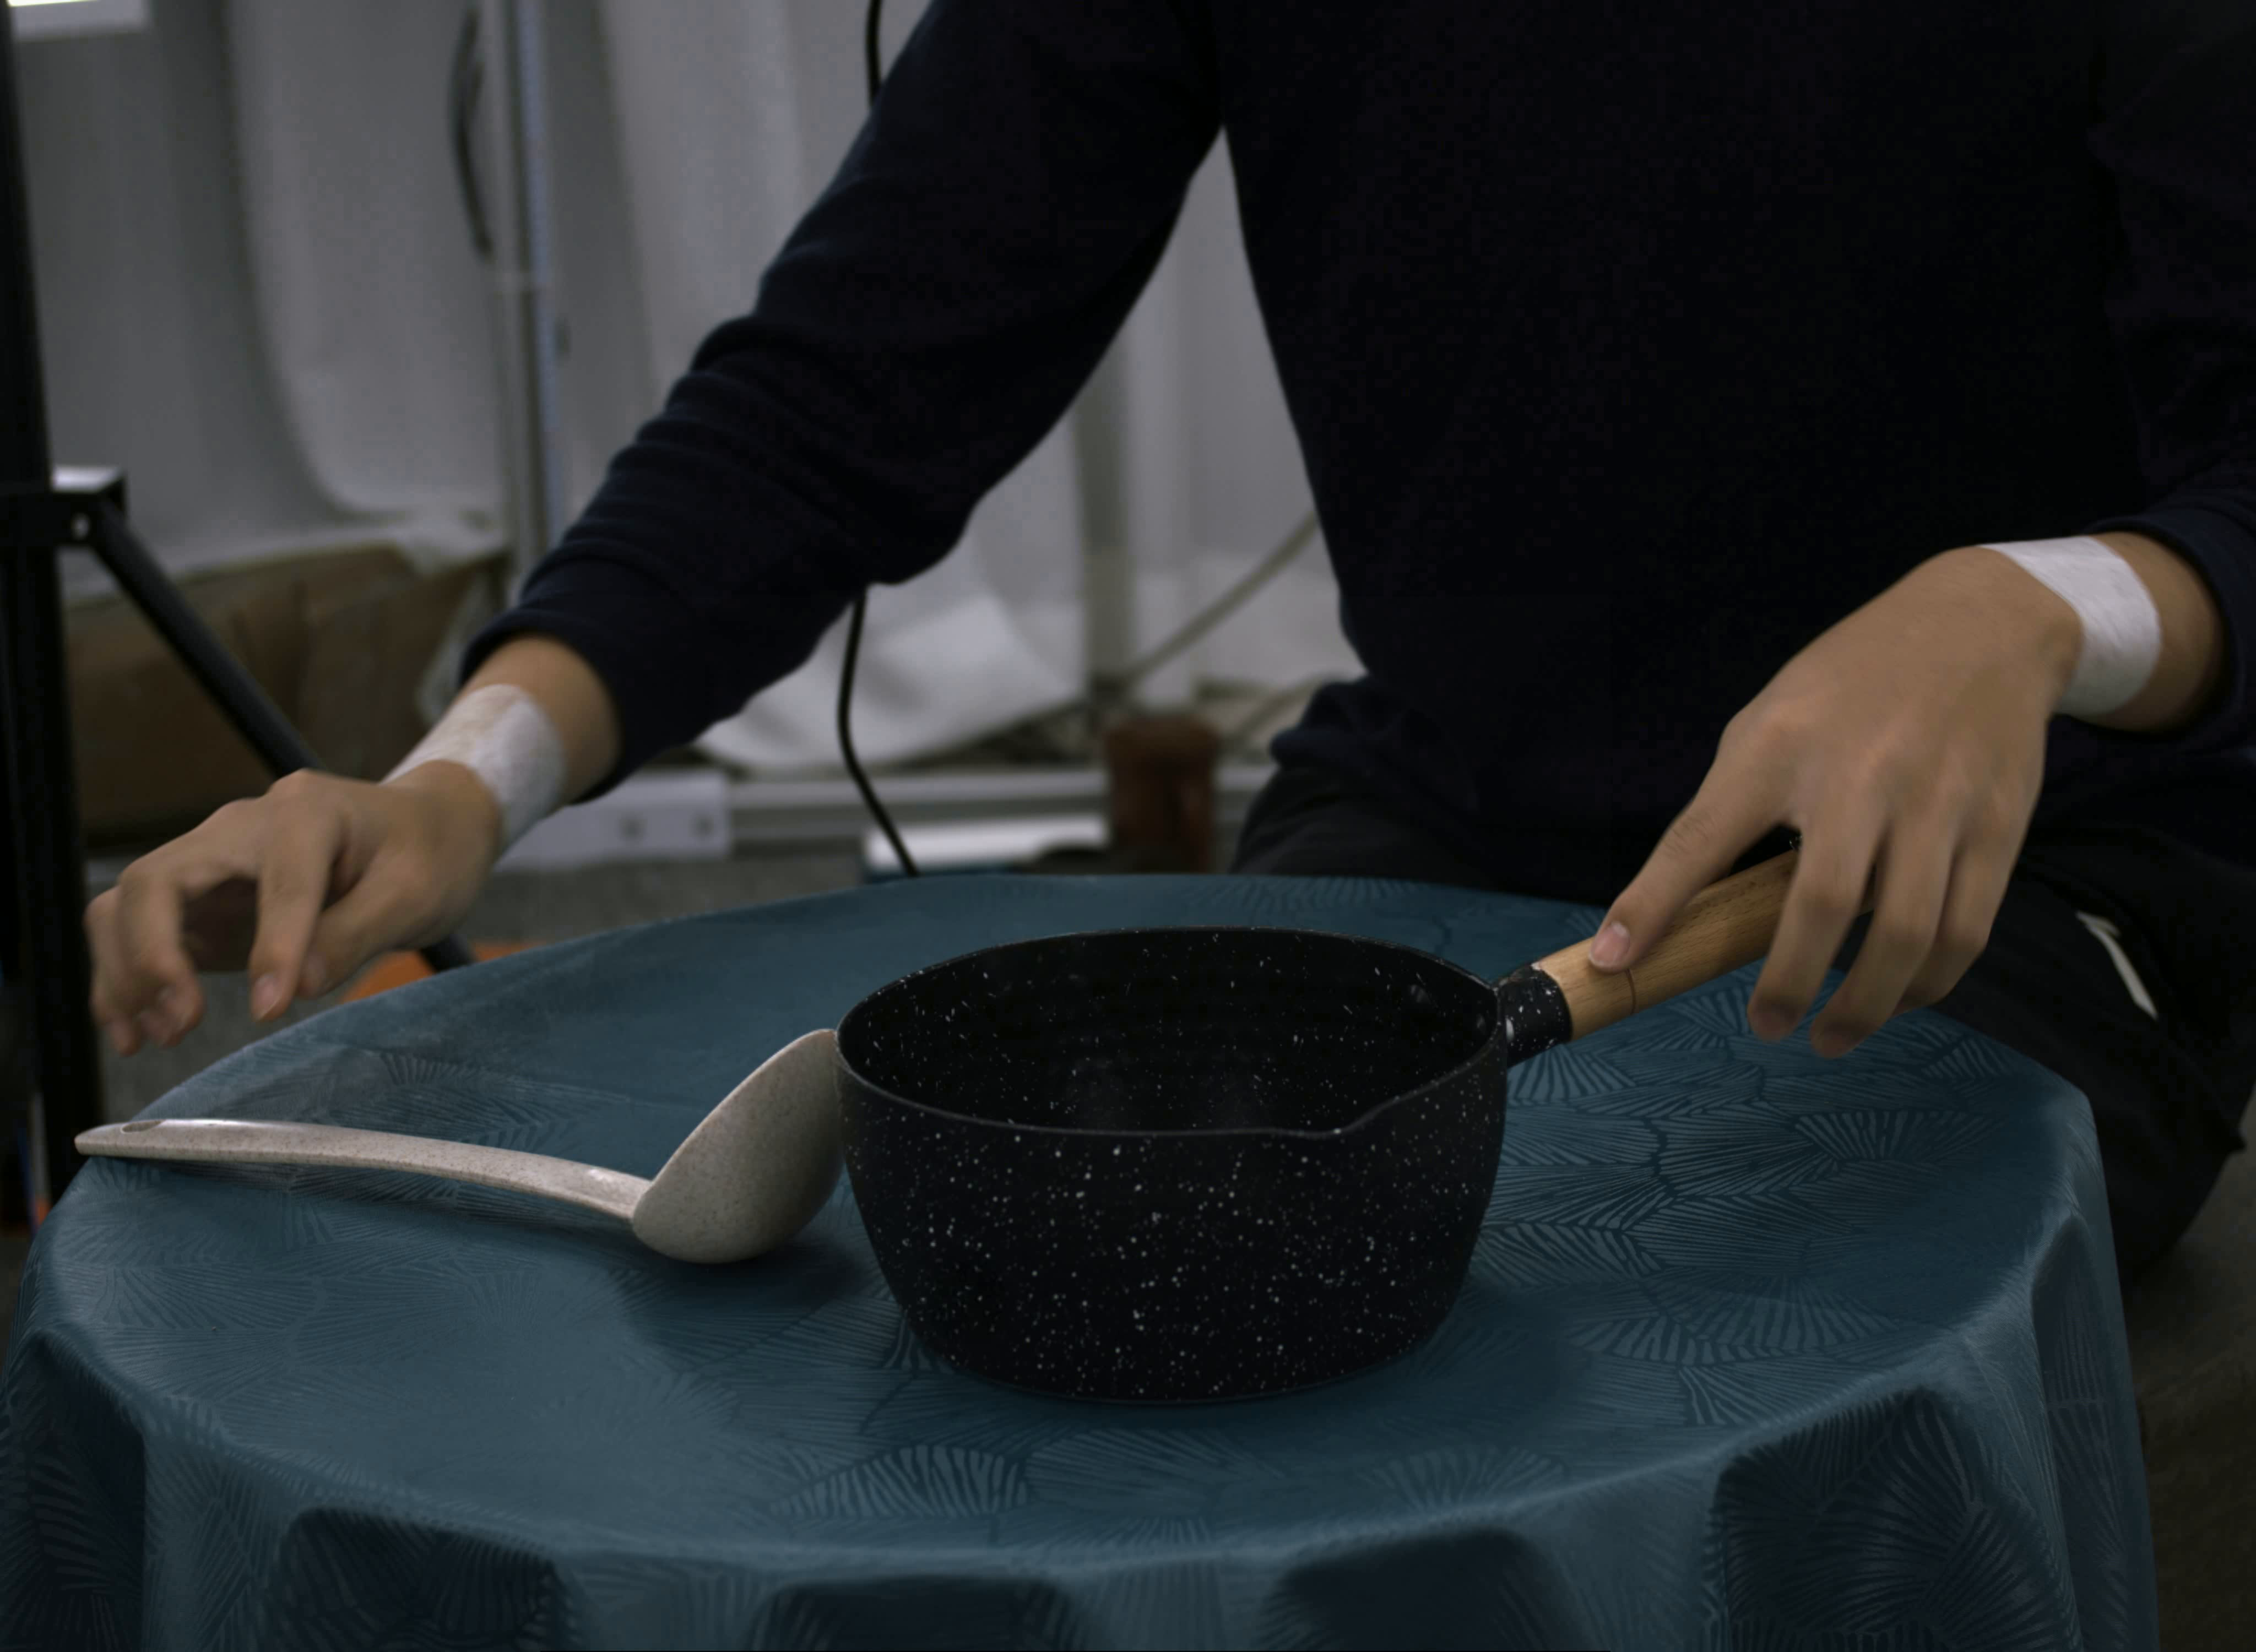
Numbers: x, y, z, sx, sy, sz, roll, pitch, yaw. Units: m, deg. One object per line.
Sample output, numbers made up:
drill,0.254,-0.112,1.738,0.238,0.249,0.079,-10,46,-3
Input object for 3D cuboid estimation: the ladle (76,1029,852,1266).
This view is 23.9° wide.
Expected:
ladle,-0.205,0.080,1.569,0.280,0.069,0.088,6,24,30

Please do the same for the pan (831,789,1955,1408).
pan,0.083,0.070,1.480,0.336,0.108,0.211,-11,17,-23
